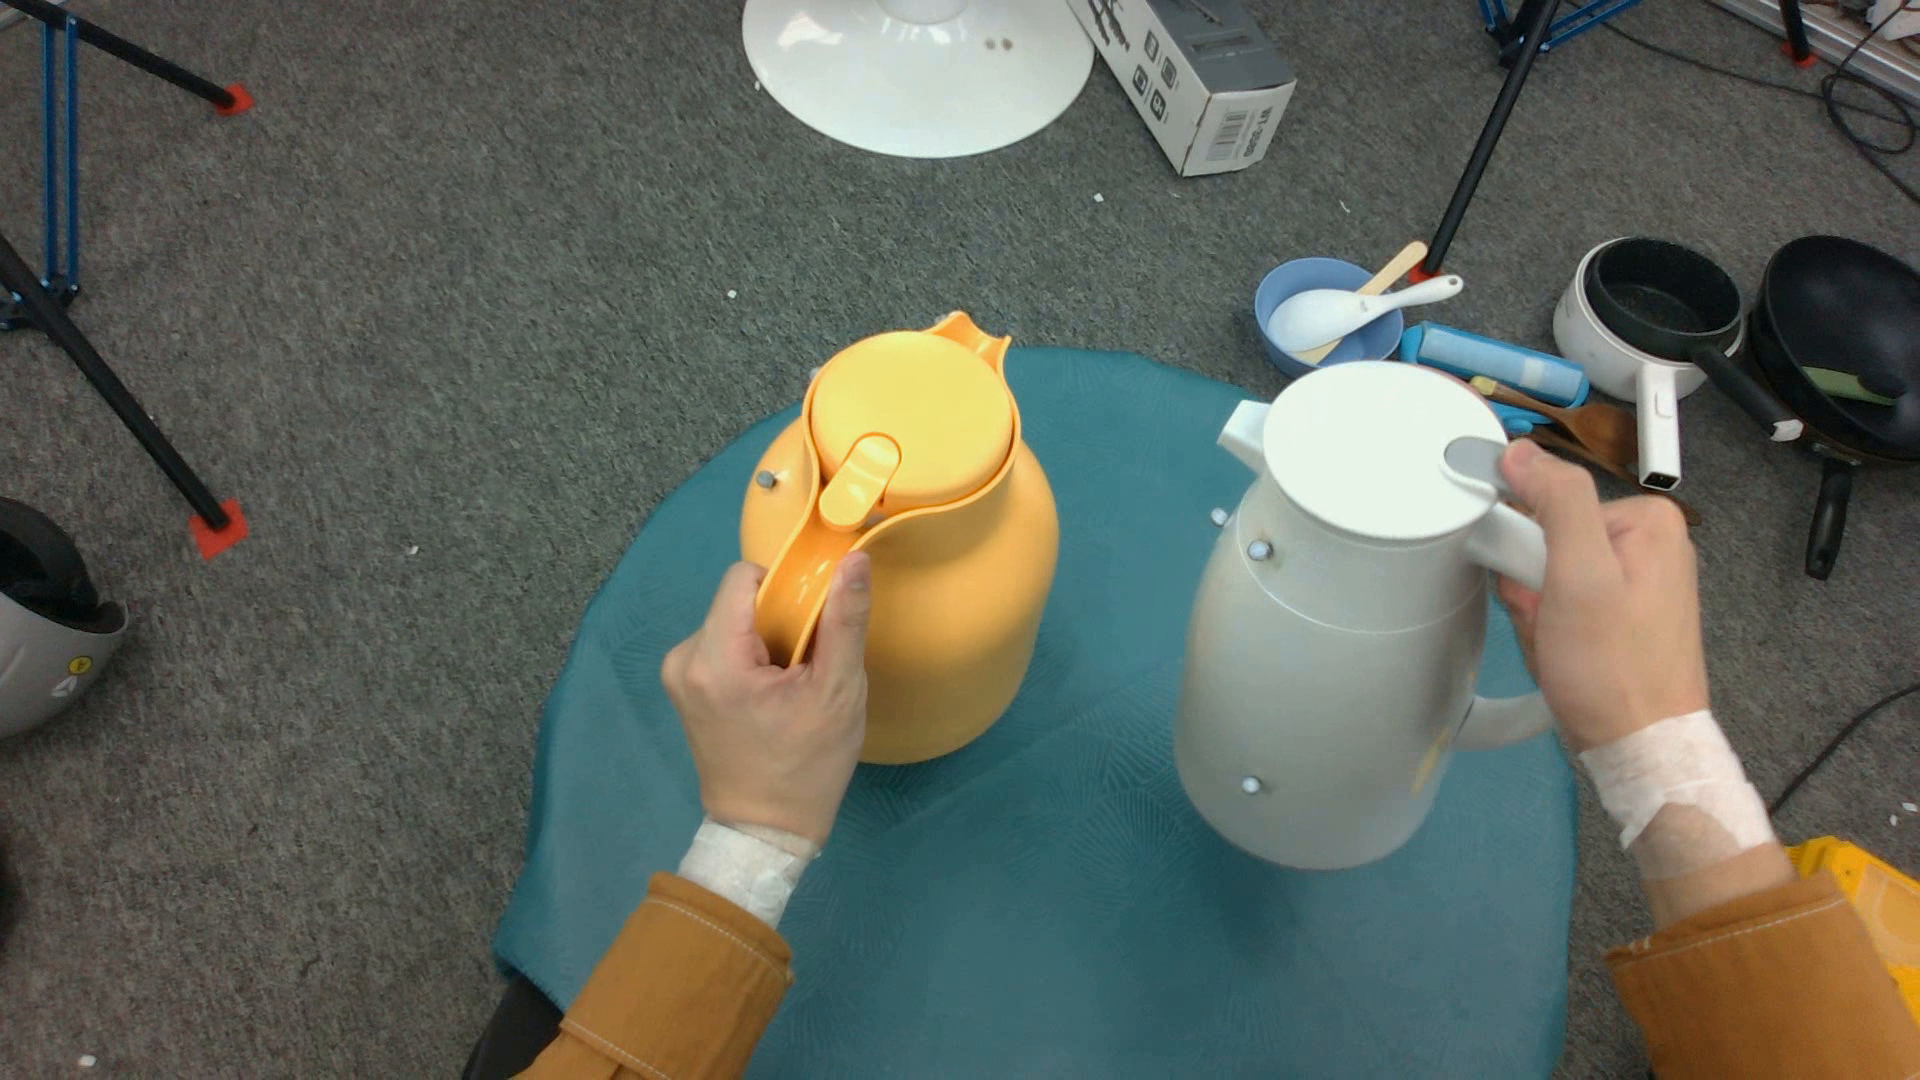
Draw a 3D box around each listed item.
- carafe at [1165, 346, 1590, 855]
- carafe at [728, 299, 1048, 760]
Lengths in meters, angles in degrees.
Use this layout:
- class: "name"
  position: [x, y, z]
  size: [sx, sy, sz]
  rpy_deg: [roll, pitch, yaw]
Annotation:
- class: "carafe"
  position: [0.182, 0.034, 0.613]
  size: [0.167, 0.247, 0.133]
  rpy_deg: [22, 57, 19]
- class: "carafe"
  position: [-0.049, 0.012, 0.694]
  size: [0.163, 0.259, 0.203]
  rpy_deg: [30, 60, 12]
